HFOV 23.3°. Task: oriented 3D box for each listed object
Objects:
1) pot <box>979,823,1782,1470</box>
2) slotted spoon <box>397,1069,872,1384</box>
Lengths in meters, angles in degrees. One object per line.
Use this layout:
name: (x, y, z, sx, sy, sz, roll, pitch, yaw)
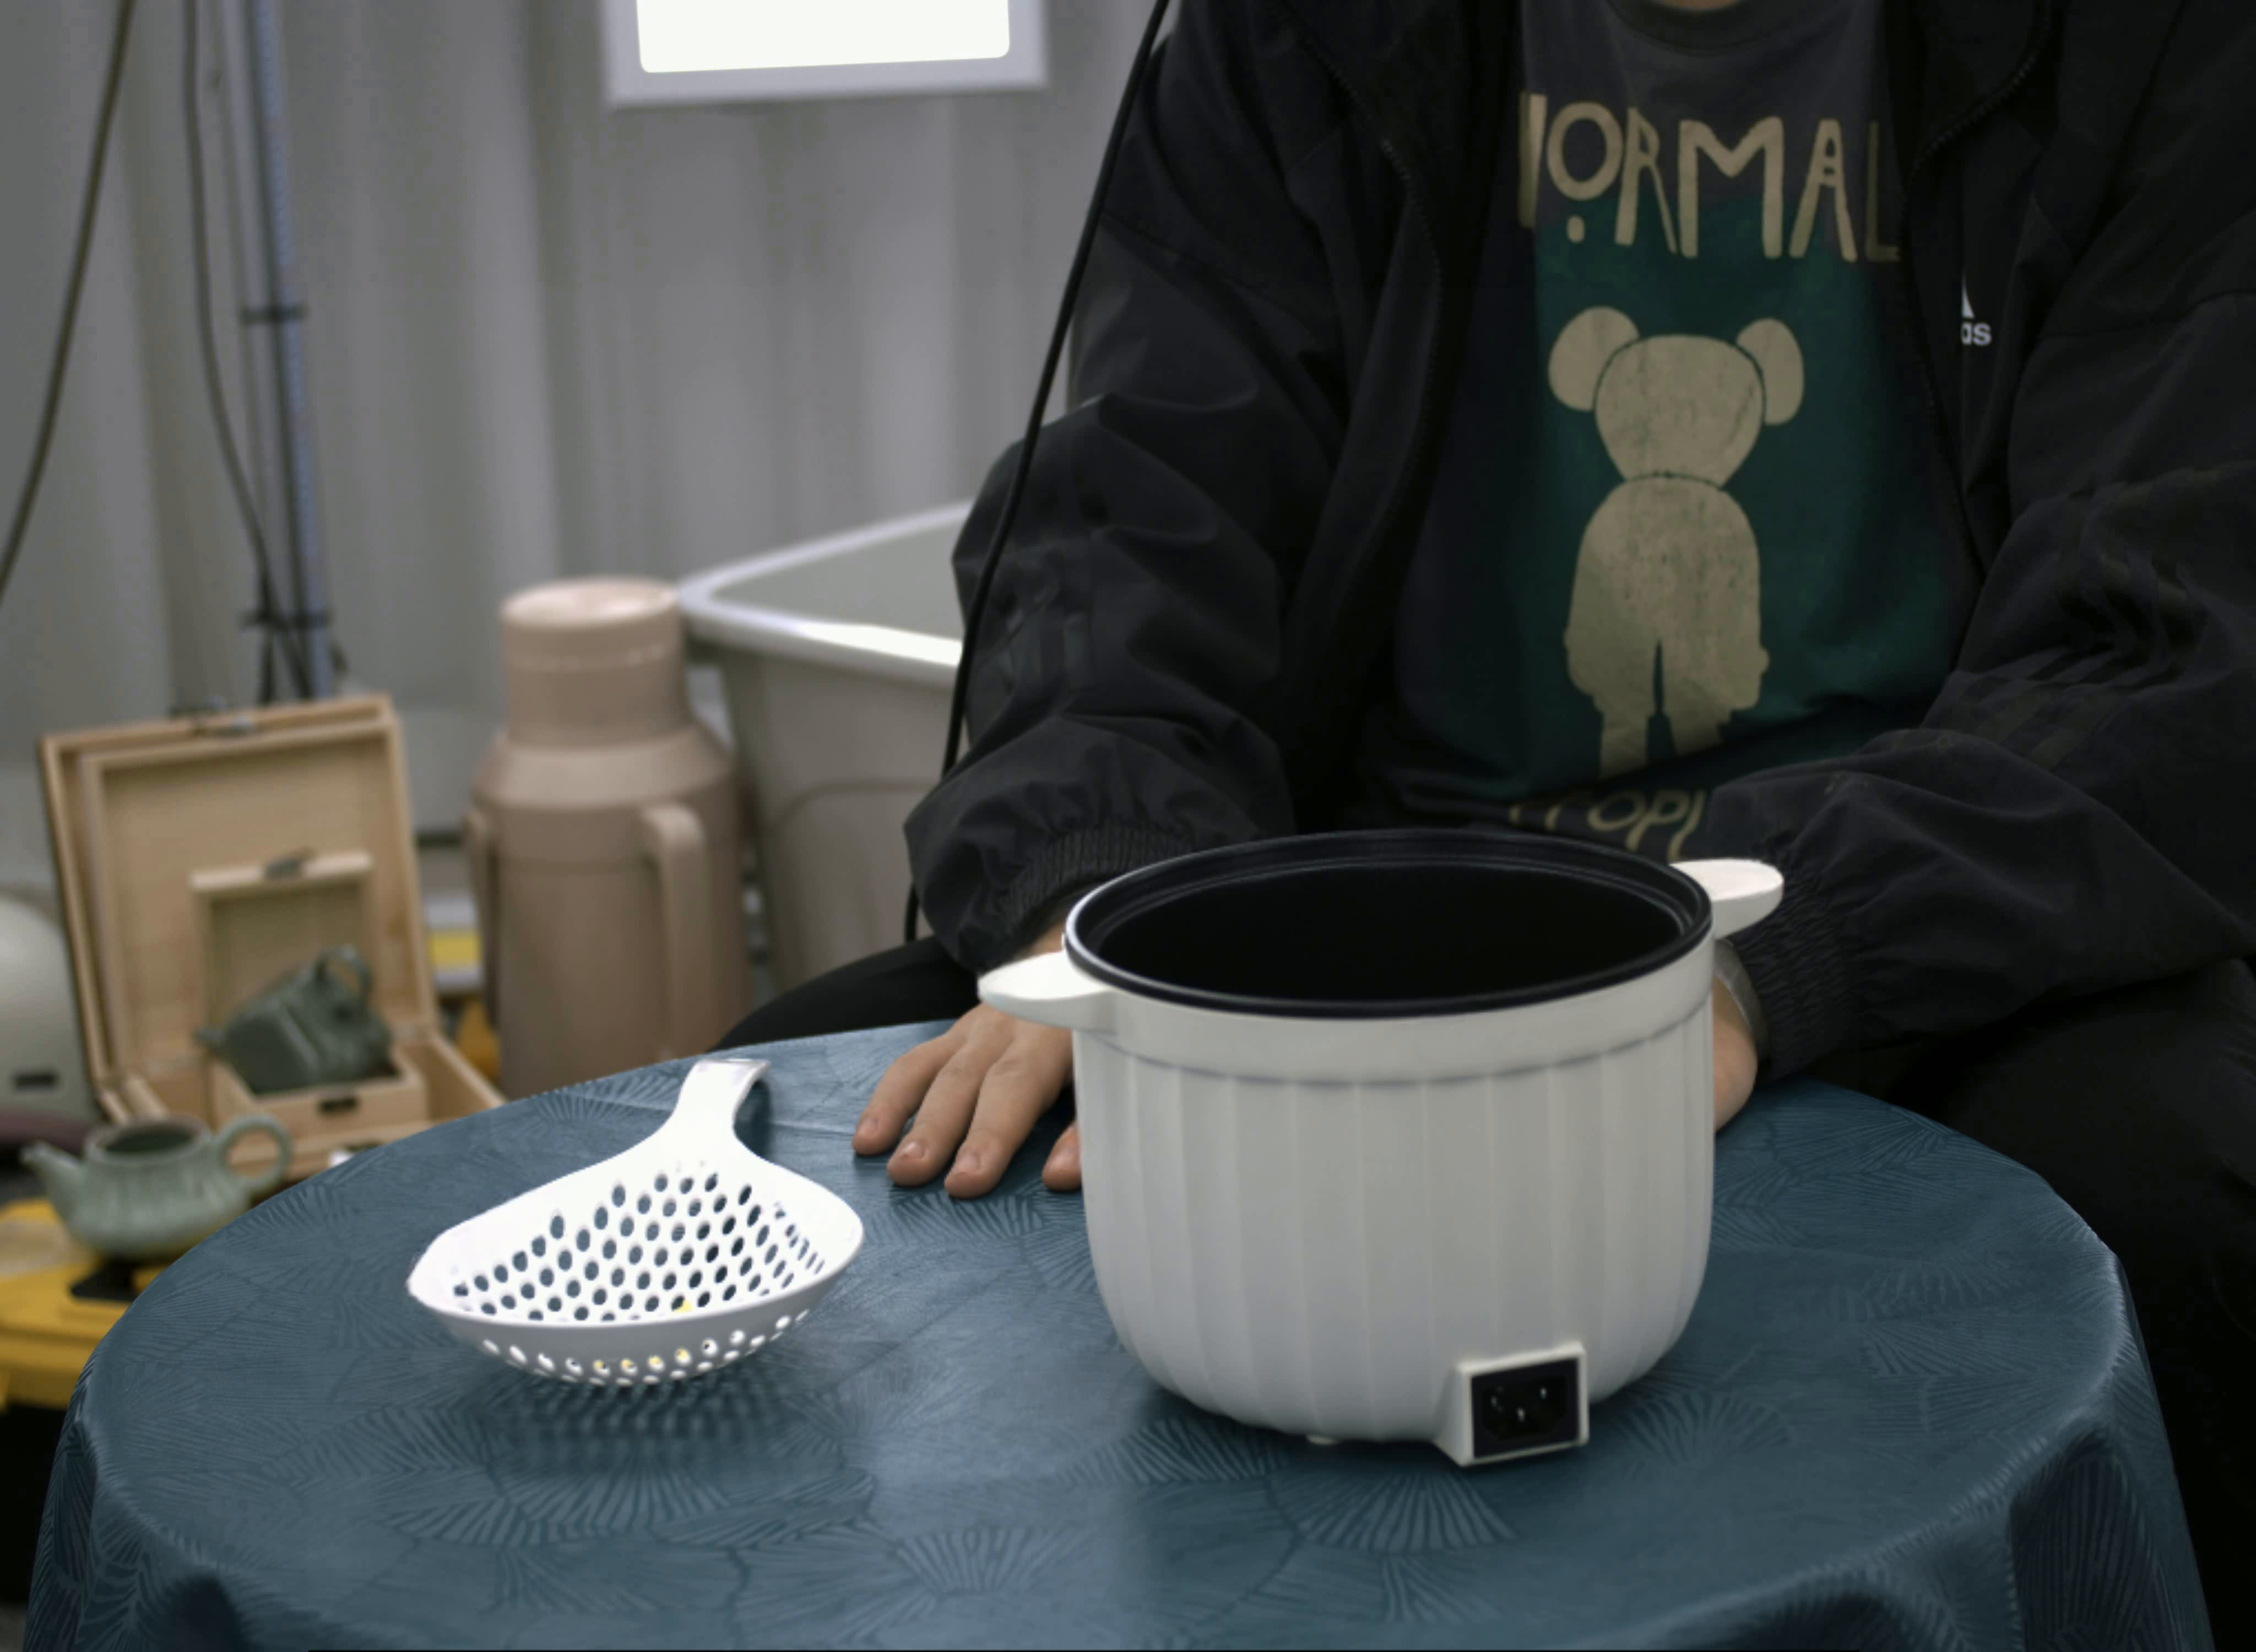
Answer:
pot: (0.072, 0.087, 1.538, 0.239, 0.142, 0.192, -7, 18, -19)
slotted spoon: (-0.136, 0.109, 1.680, 0.136, 0.050, 0.350, -4, 15, 3)
